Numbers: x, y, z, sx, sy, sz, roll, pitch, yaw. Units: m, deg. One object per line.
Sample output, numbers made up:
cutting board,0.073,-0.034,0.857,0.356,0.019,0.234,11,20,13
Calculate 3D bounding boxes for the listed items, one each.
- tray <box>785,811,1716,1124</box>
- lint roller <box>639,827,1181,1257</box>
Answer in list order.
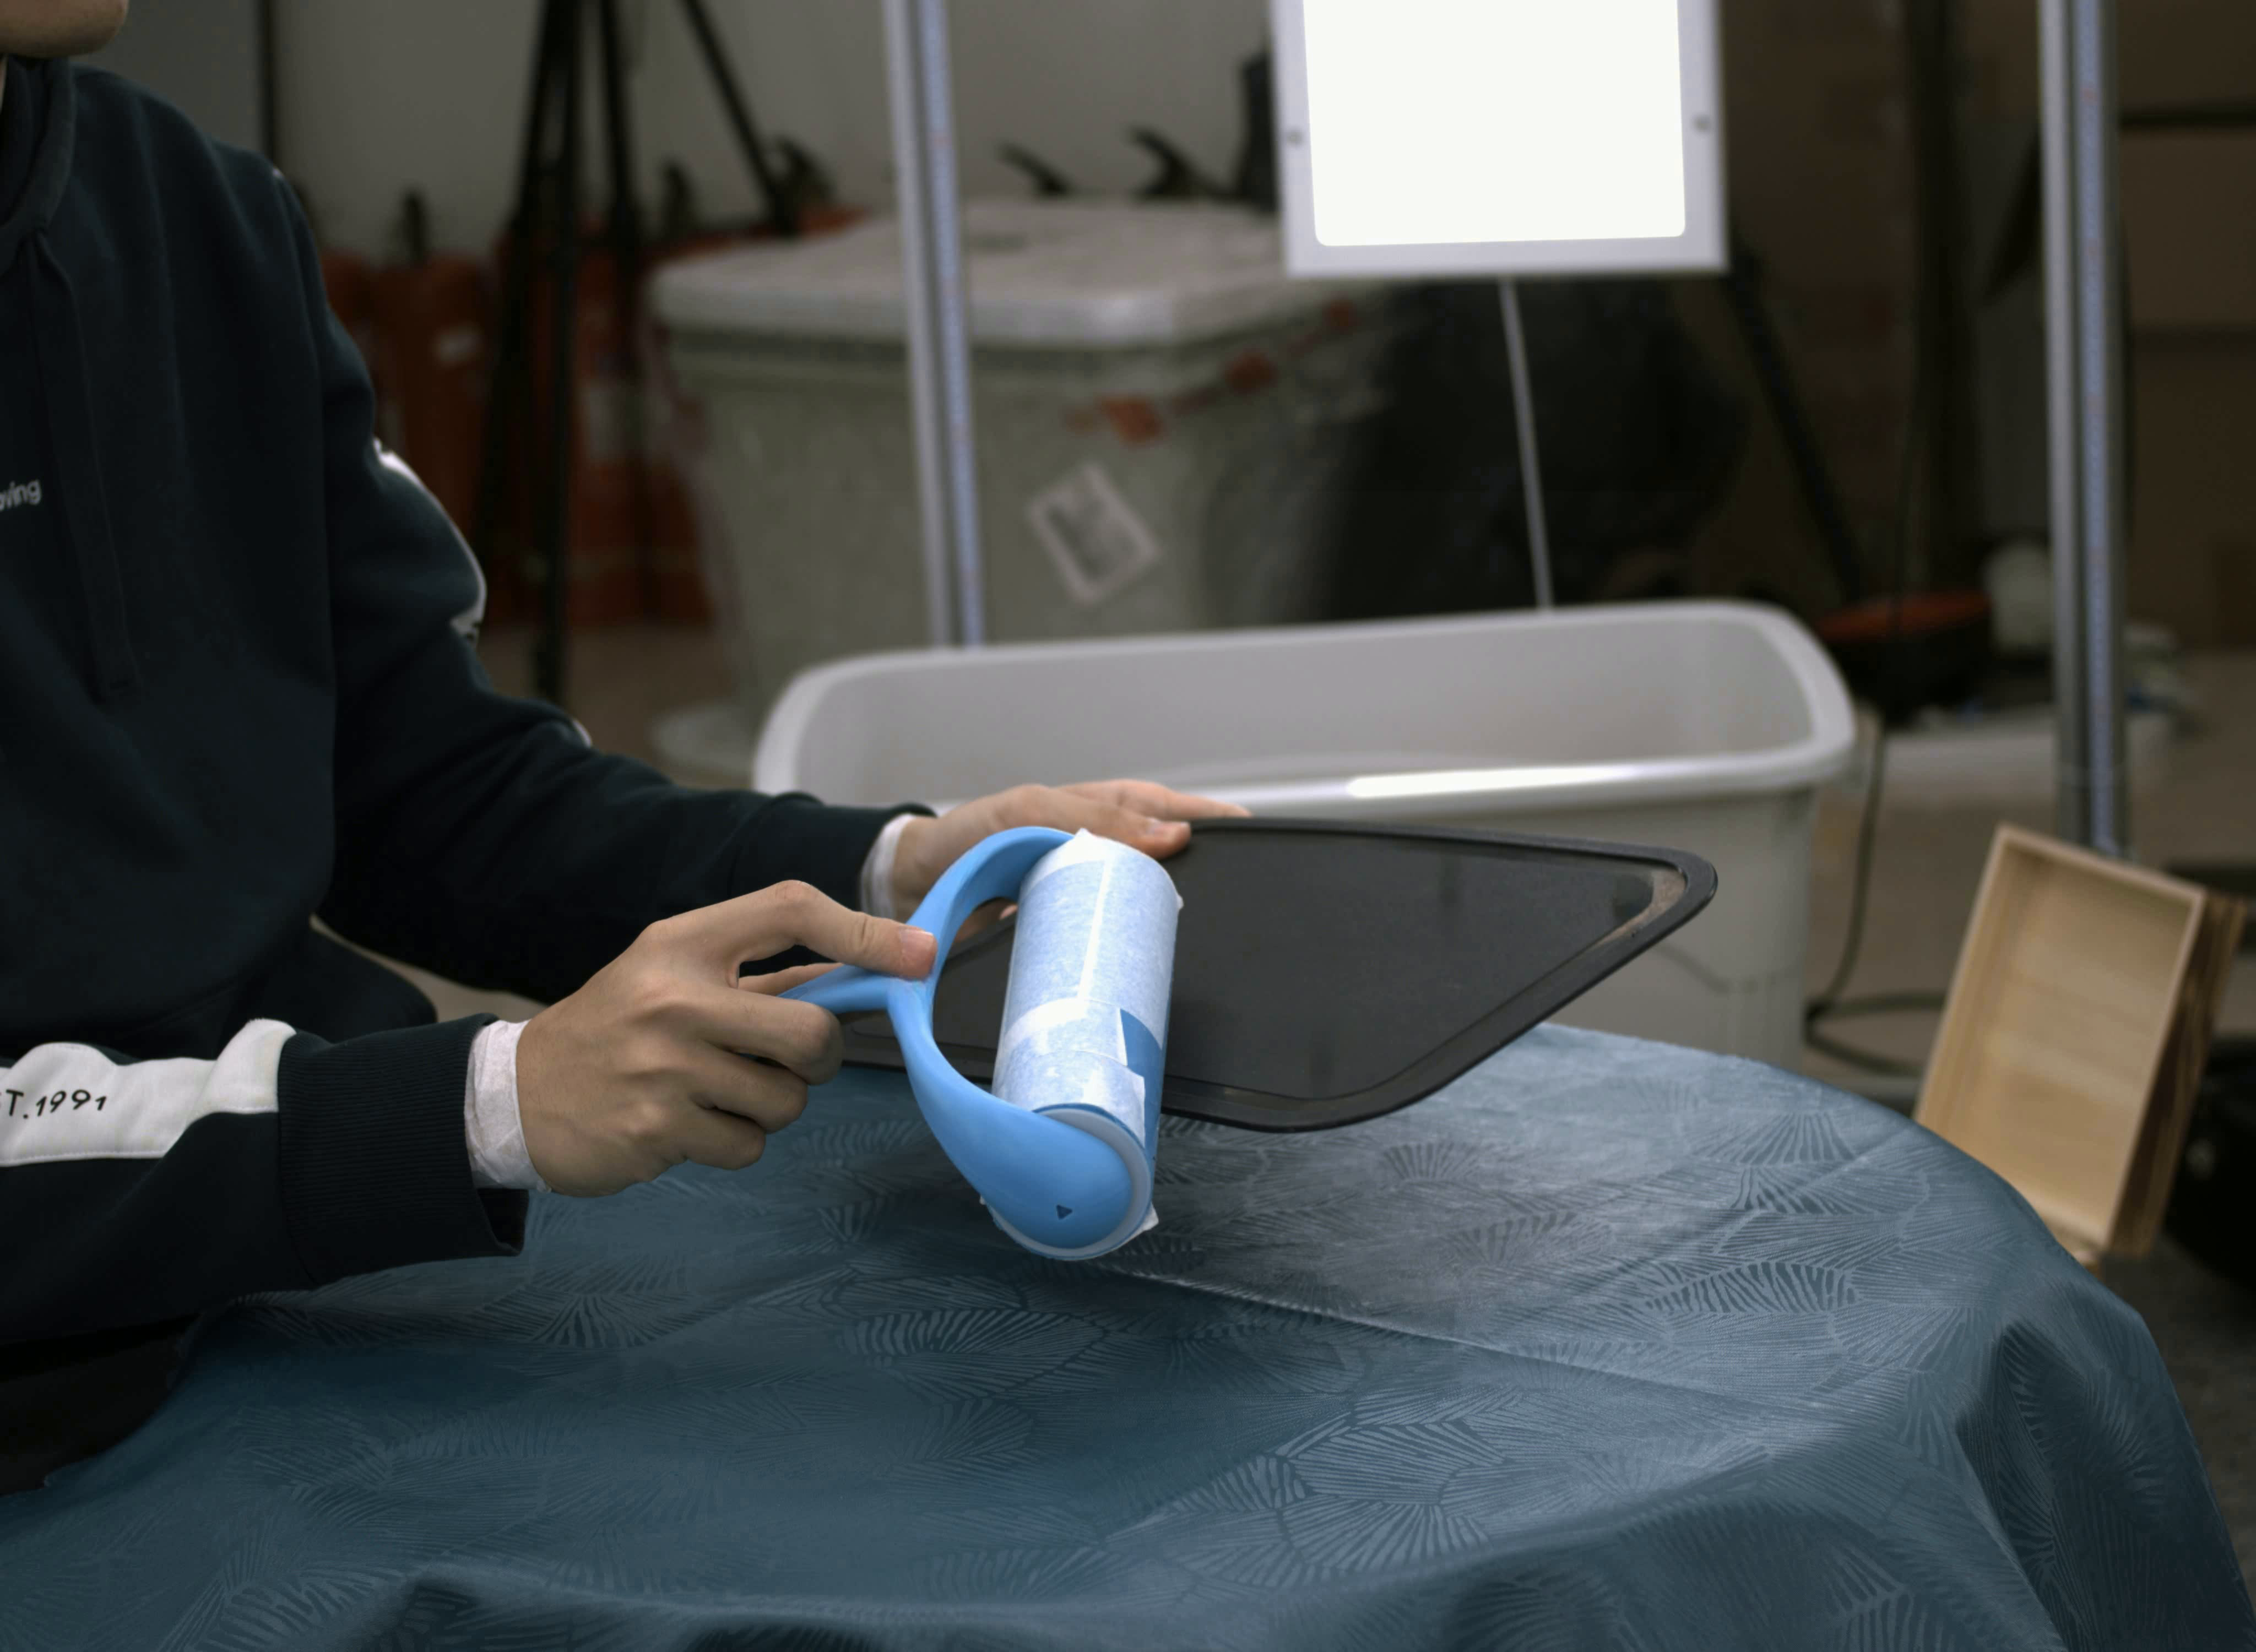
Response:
tray,0.030,0.043,1.864,0.206,0.010,0.332,-30,23,-35
lint roller,-0.072,0.073,1.752,0.180,0.068,0.228,-7,26,4
